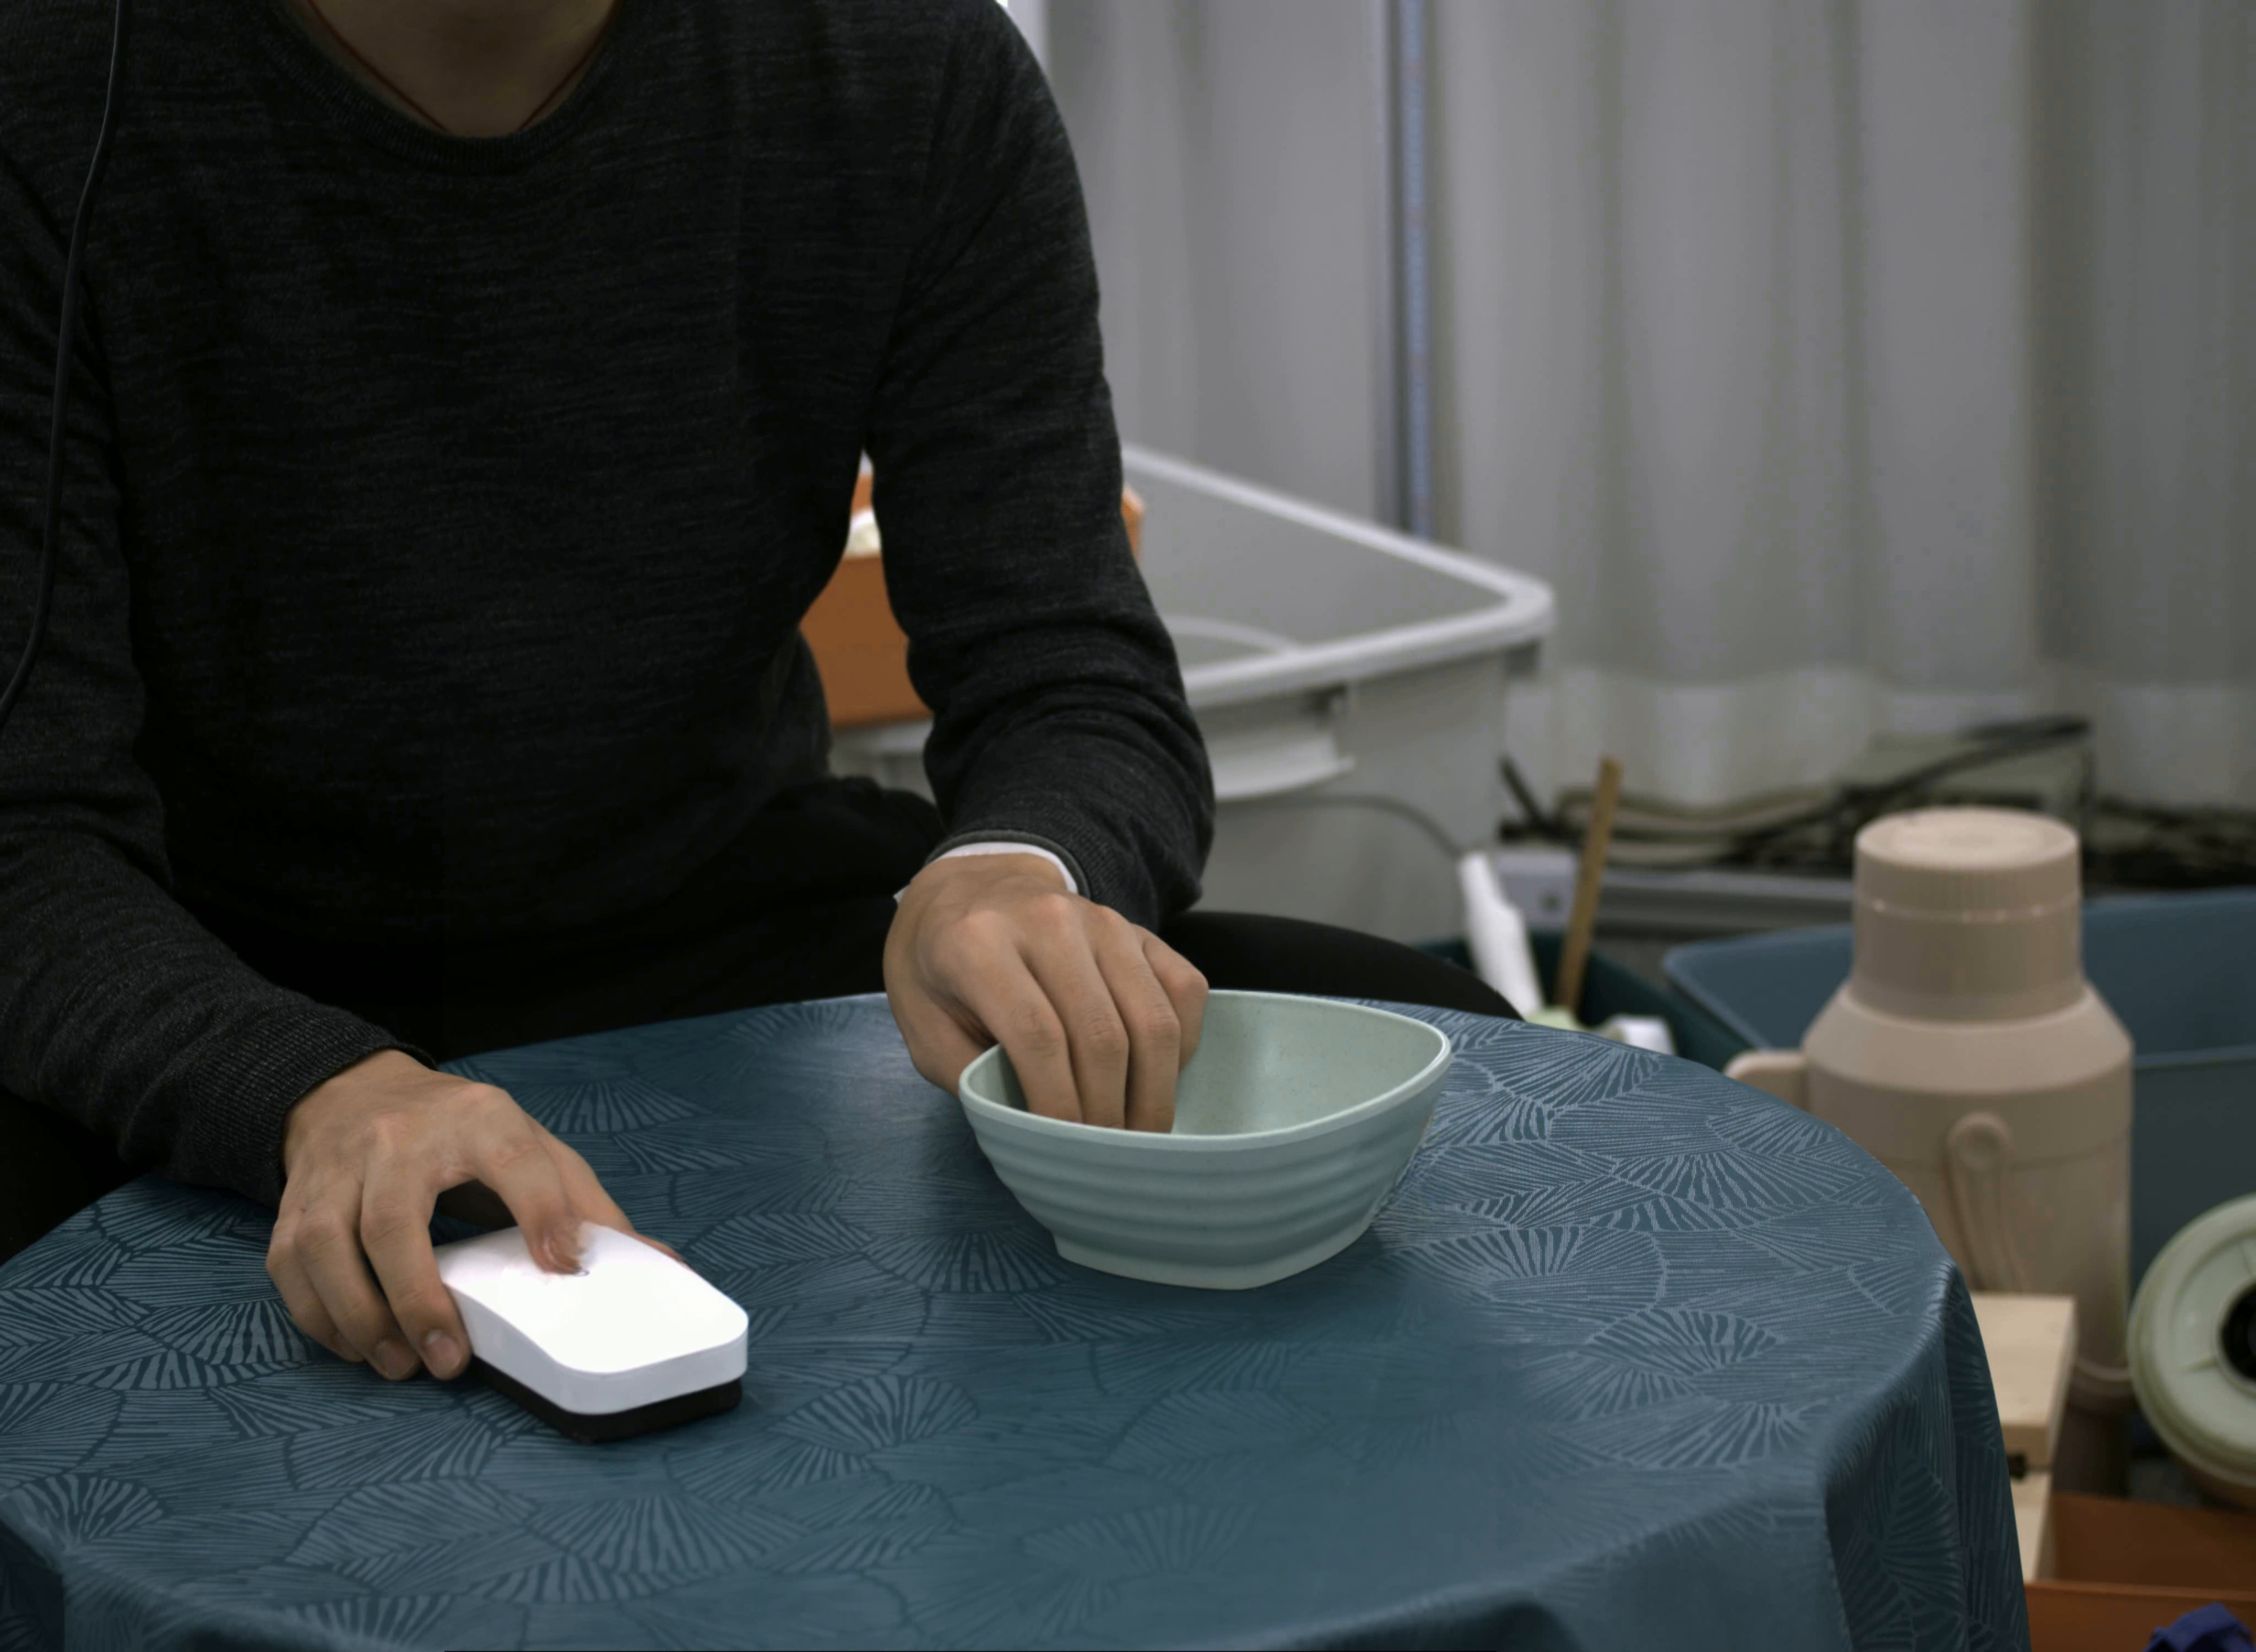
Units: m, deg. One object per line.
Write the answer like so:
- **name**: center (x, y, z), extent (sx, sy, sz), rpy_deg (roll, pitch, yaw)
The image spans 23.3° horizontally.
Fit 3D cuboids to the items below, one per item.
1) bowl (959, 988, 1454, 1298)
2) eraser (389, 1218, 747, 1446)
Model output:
- **bowl**: center (0.025, 0.099, 1.661), extent (0.151, 0.058, 0.152), rpy_deg (-2, 16, 0)
- **eraser**: center (-0.162, 0.142, 1.582), extent (0.063, 0.034, 0.132), rpy_deg (-9, 18, -31)
